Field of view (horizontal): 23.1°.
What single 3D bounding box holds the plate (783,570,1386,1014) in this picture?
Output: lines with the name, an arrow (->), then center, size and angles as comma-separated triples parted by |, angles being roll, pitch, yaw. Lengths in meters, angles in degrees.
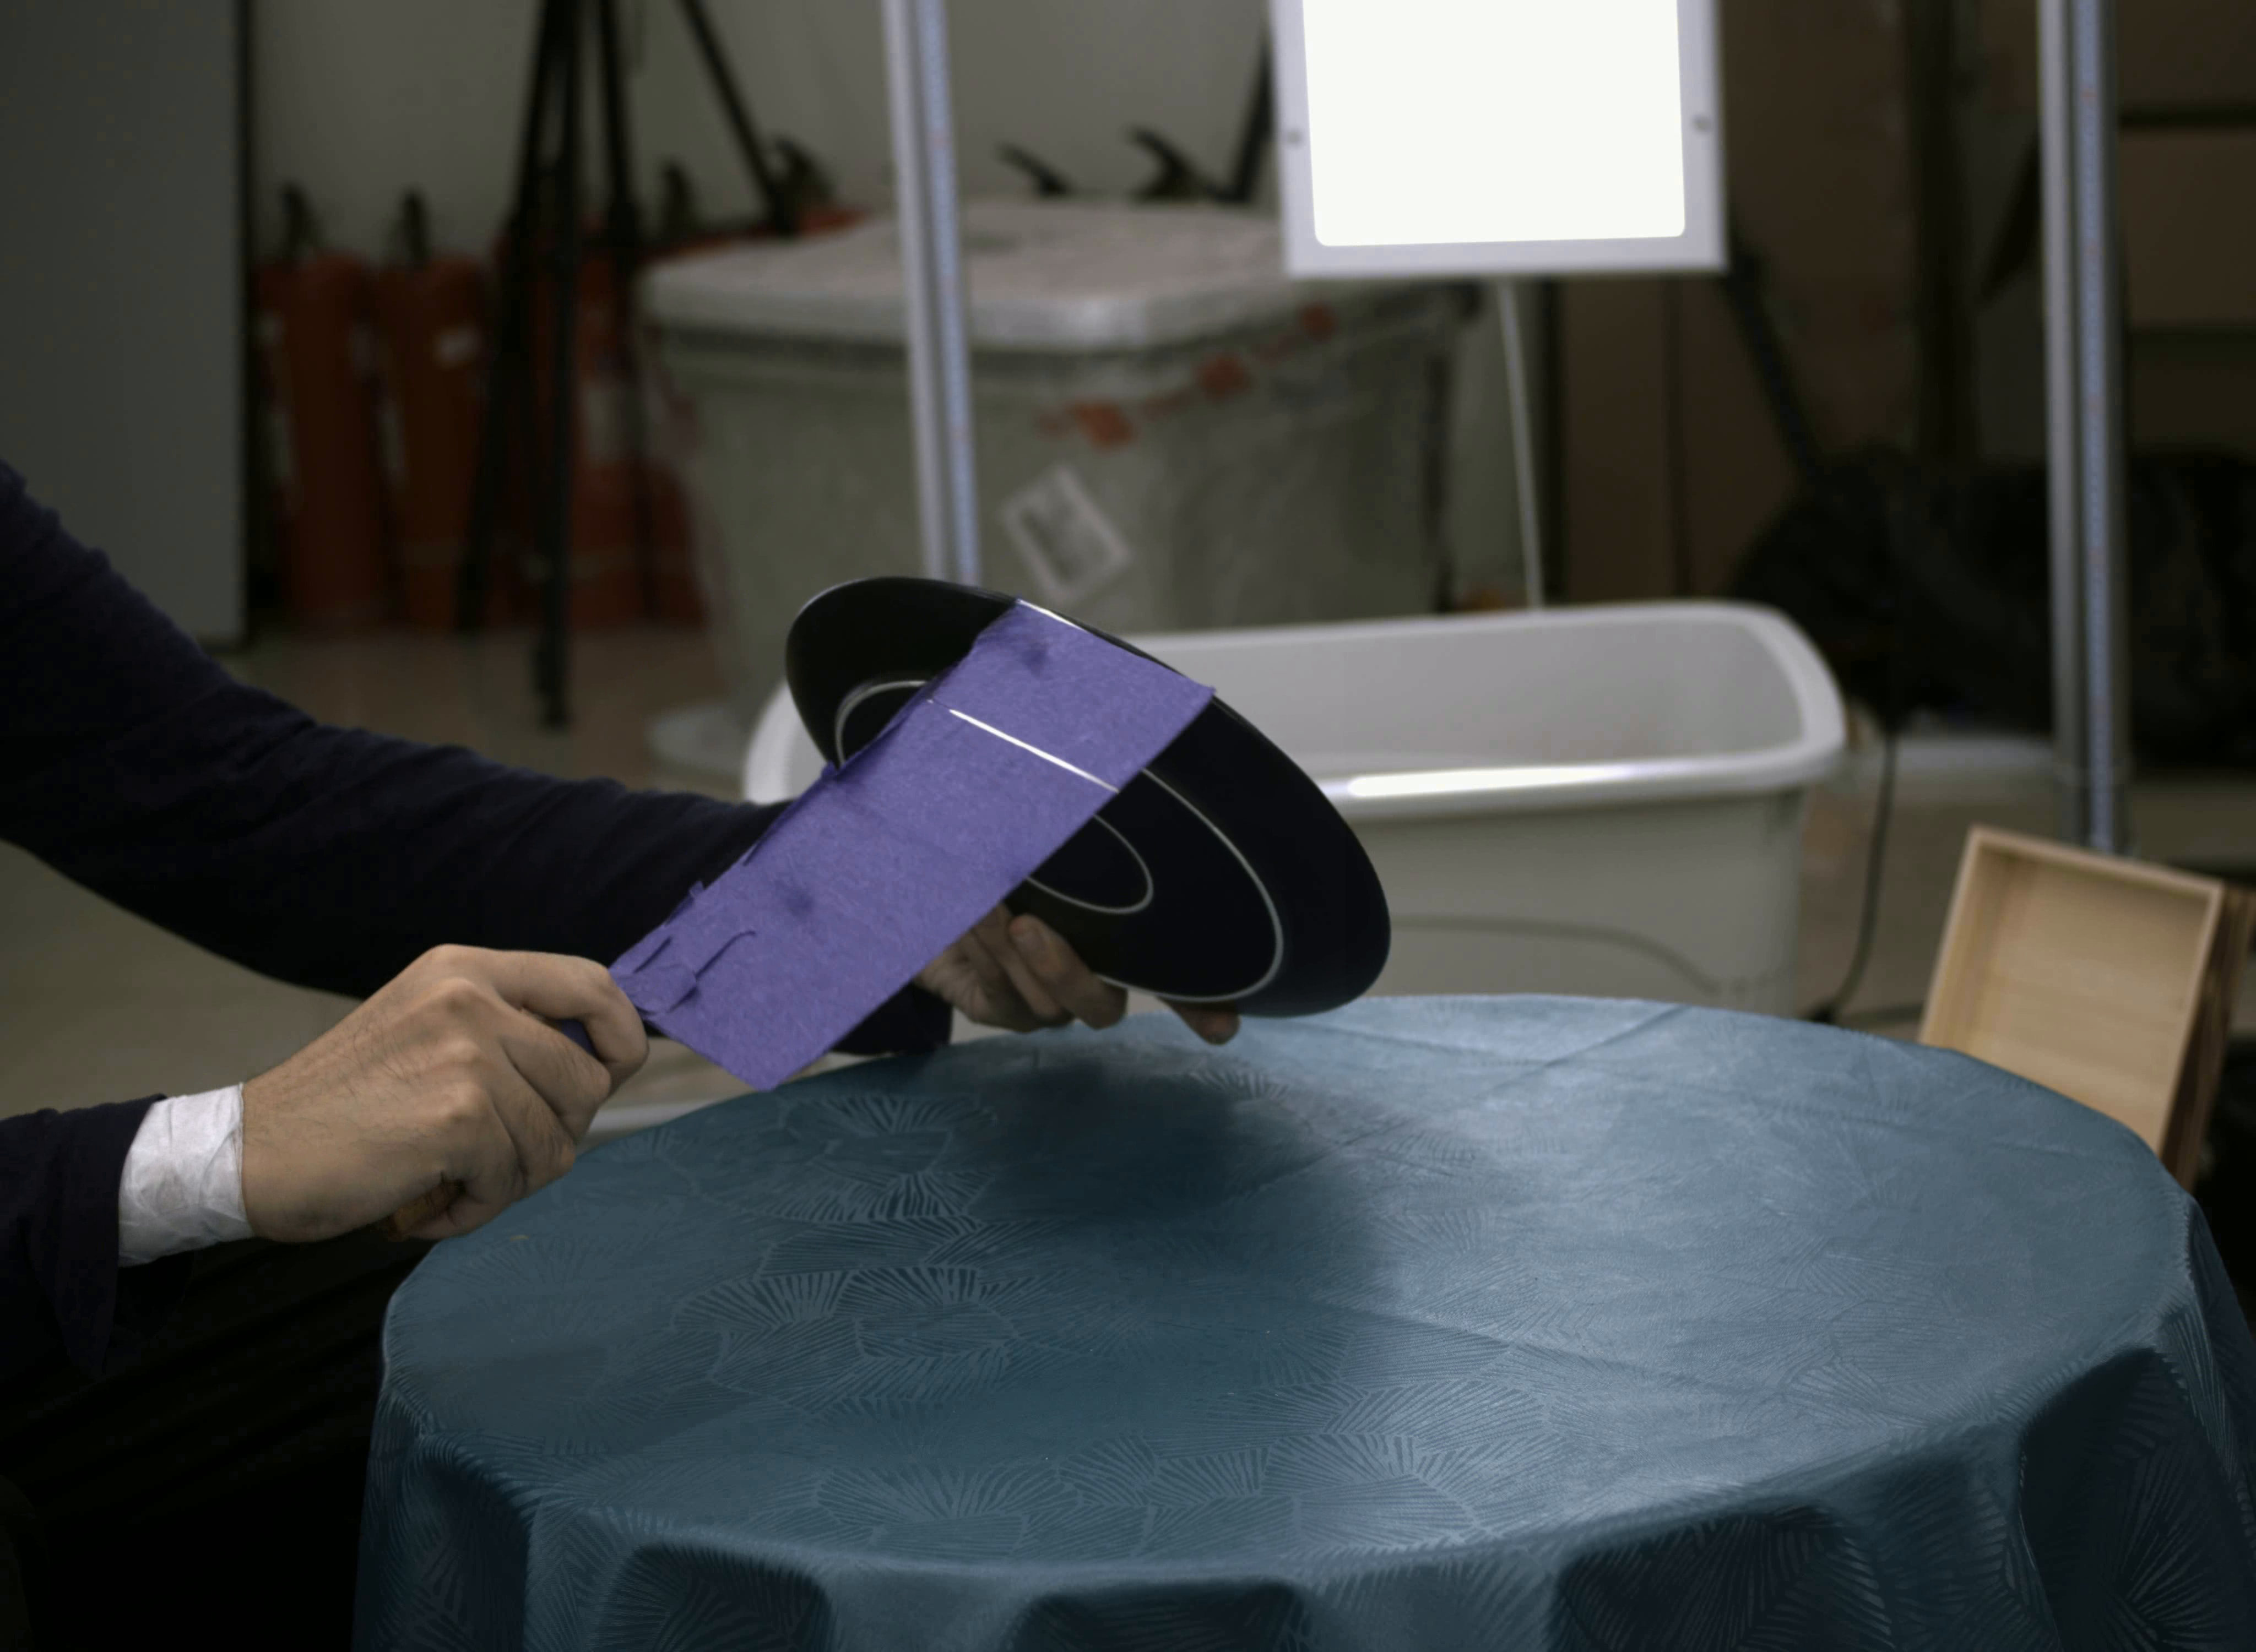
plate -> -0.021, -0.003, 1.951 | 0.249, 0.242, 0.023 | 8, 55, 41

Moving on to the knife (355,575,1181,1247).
knife -> -0.110, 0.030, 1.760 | 0.106, 0.032, 0.311 | 26, 62, 40
